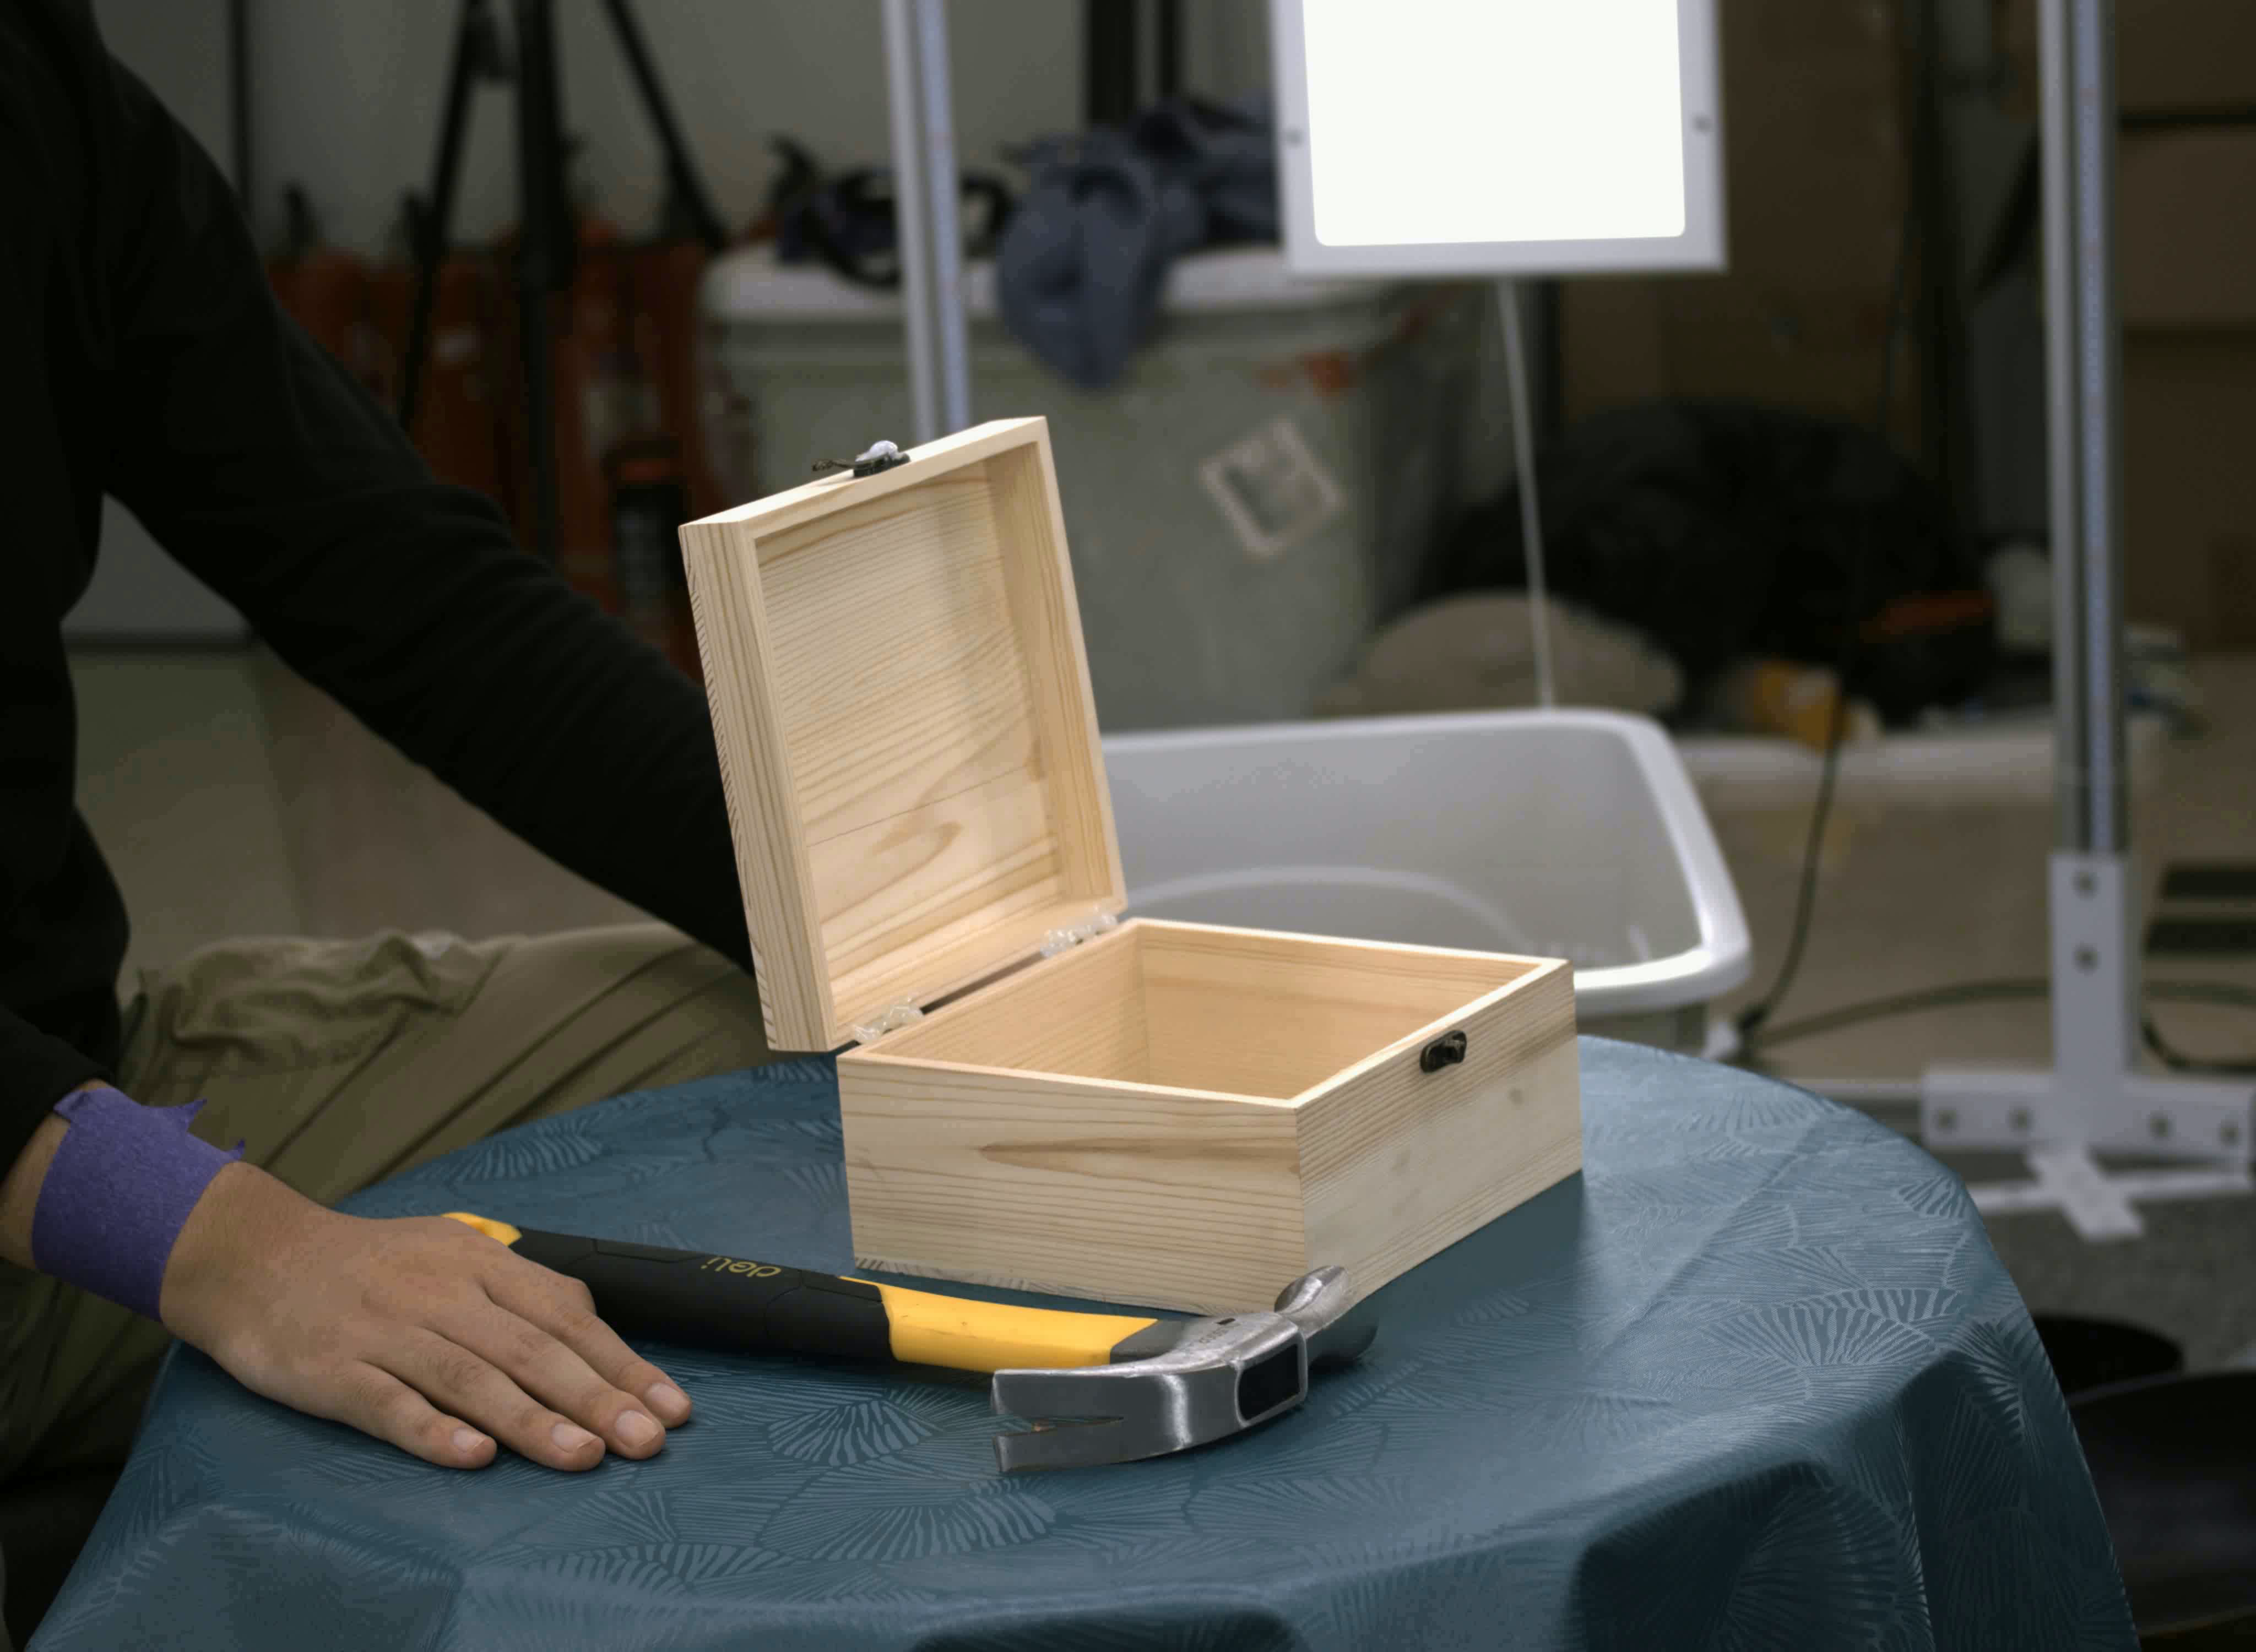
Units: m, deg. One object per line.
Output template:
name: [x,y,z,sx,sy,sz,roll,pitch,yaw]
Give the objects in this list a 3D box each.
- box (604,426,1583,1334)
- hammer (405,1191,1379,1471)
box: [-0.005,0.010,1.851,0.270,0.254,0.177,5,19,34]
hammer: [-0.095,0.151,1.755,0.345,0.032,0.128,7,18,36]
